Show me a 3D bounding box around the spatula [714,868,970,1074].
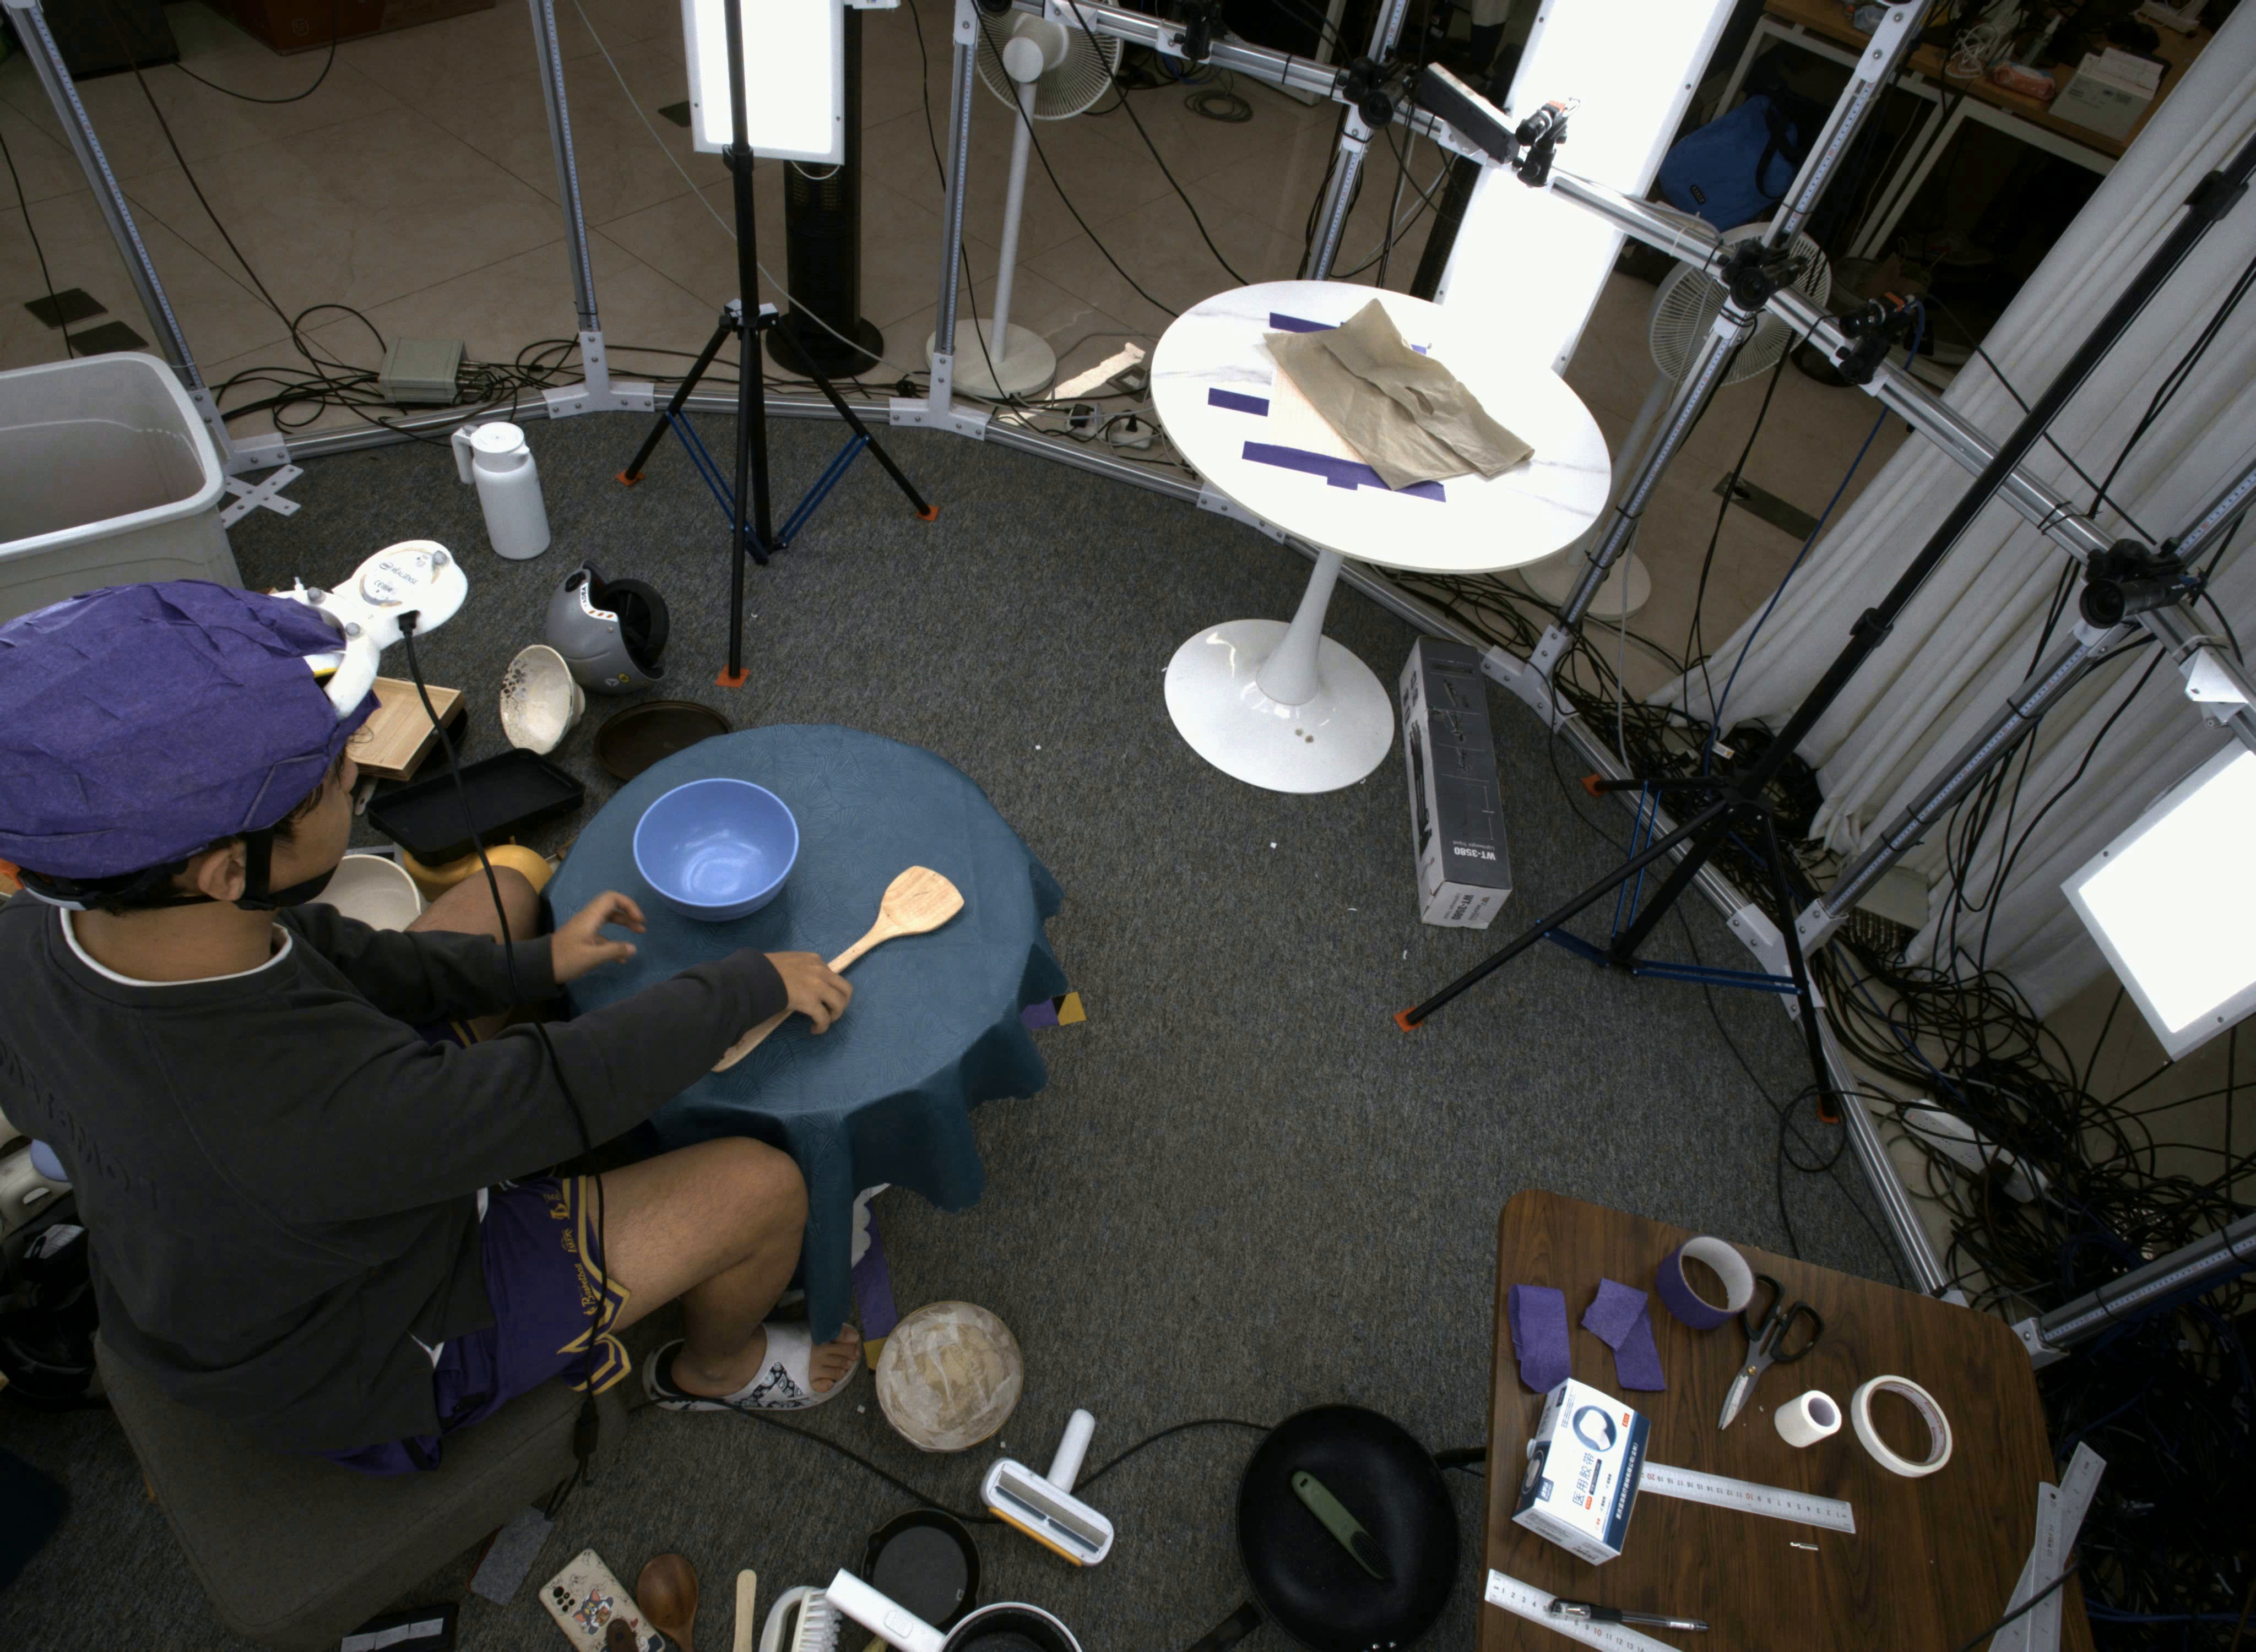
[{"bbox_3d":[-0.351,0.176,1.599,0.093,0.019,0.391,35,51,18],"label":"spatula"}]

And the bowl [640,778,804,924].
[{"bbox_3d":[-0.506,0.045,1.615,0.196,0.097,0.193,10,51,-10],"label":"bowl"}]
